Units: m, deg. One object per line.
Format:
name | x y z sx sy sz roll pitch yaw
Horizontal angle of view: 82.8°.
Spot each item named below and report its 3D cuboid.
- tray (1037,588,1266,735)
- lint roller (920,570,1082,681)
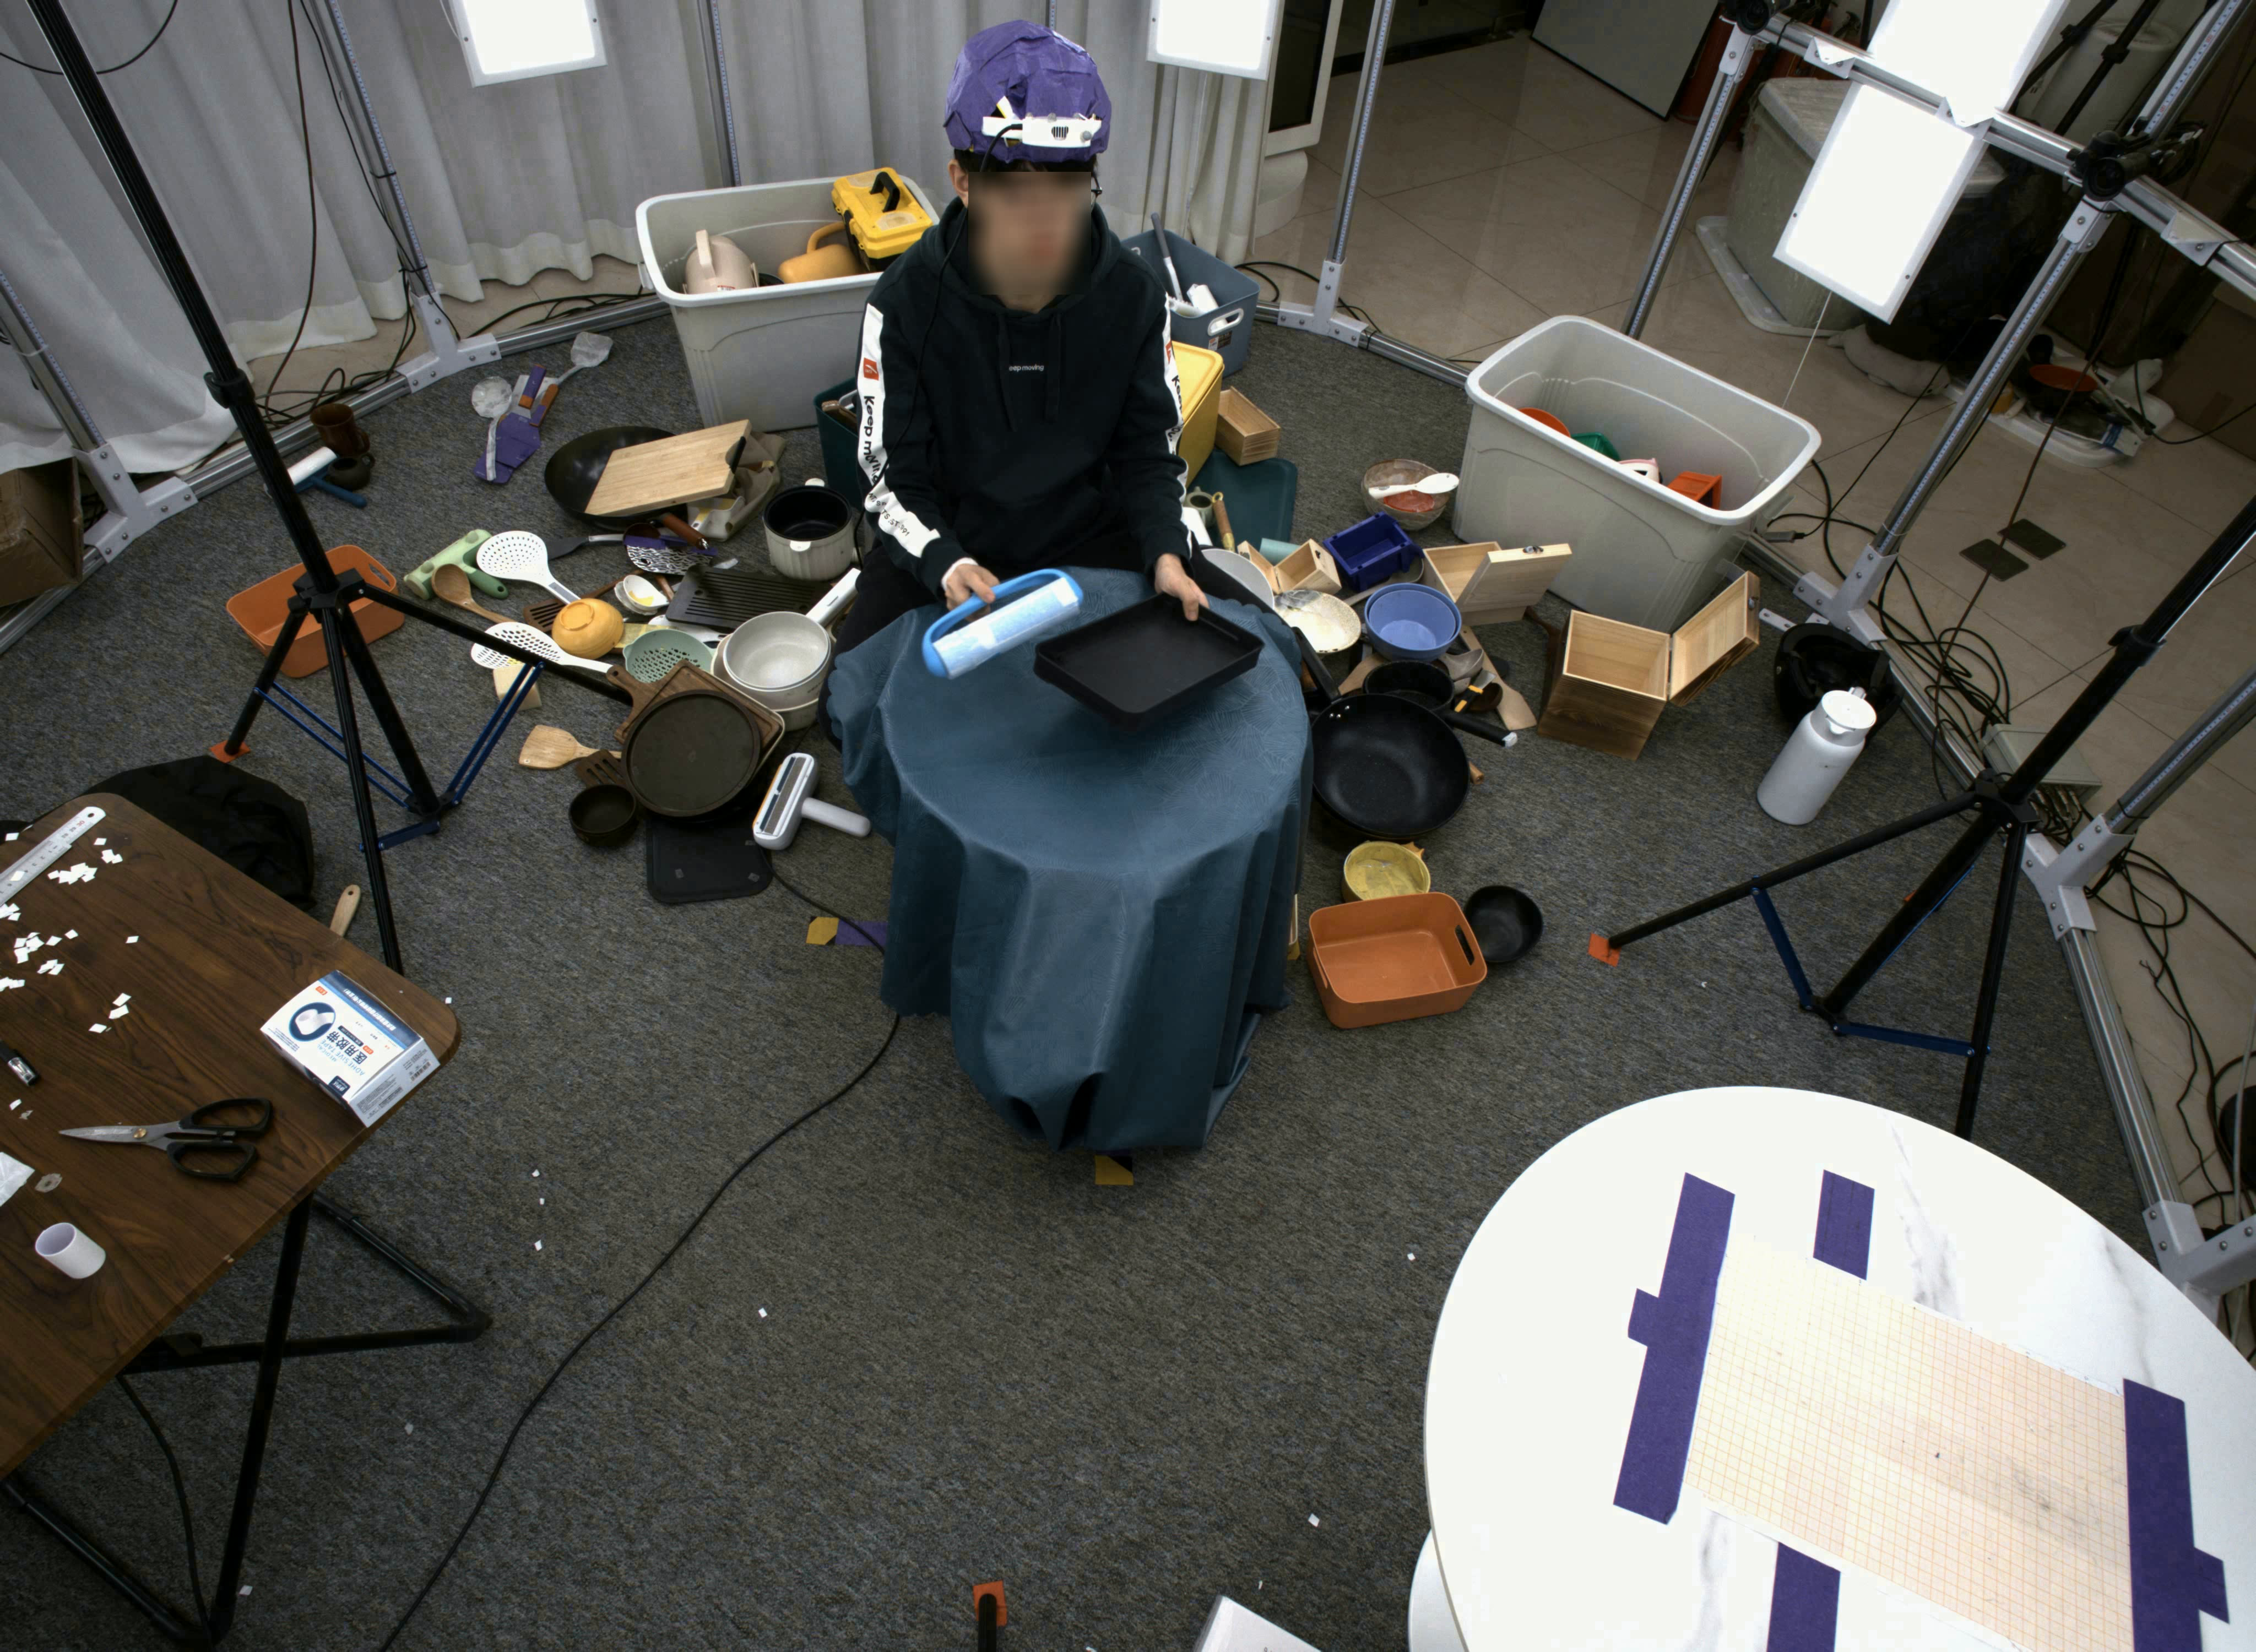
tray | 0.036 -0.233 1.766 0.186 0.036 0.321 32 42 24
lint roller | -0.189 -0.284 1.727 0.230 0.066 0.184 -32 36 -12
